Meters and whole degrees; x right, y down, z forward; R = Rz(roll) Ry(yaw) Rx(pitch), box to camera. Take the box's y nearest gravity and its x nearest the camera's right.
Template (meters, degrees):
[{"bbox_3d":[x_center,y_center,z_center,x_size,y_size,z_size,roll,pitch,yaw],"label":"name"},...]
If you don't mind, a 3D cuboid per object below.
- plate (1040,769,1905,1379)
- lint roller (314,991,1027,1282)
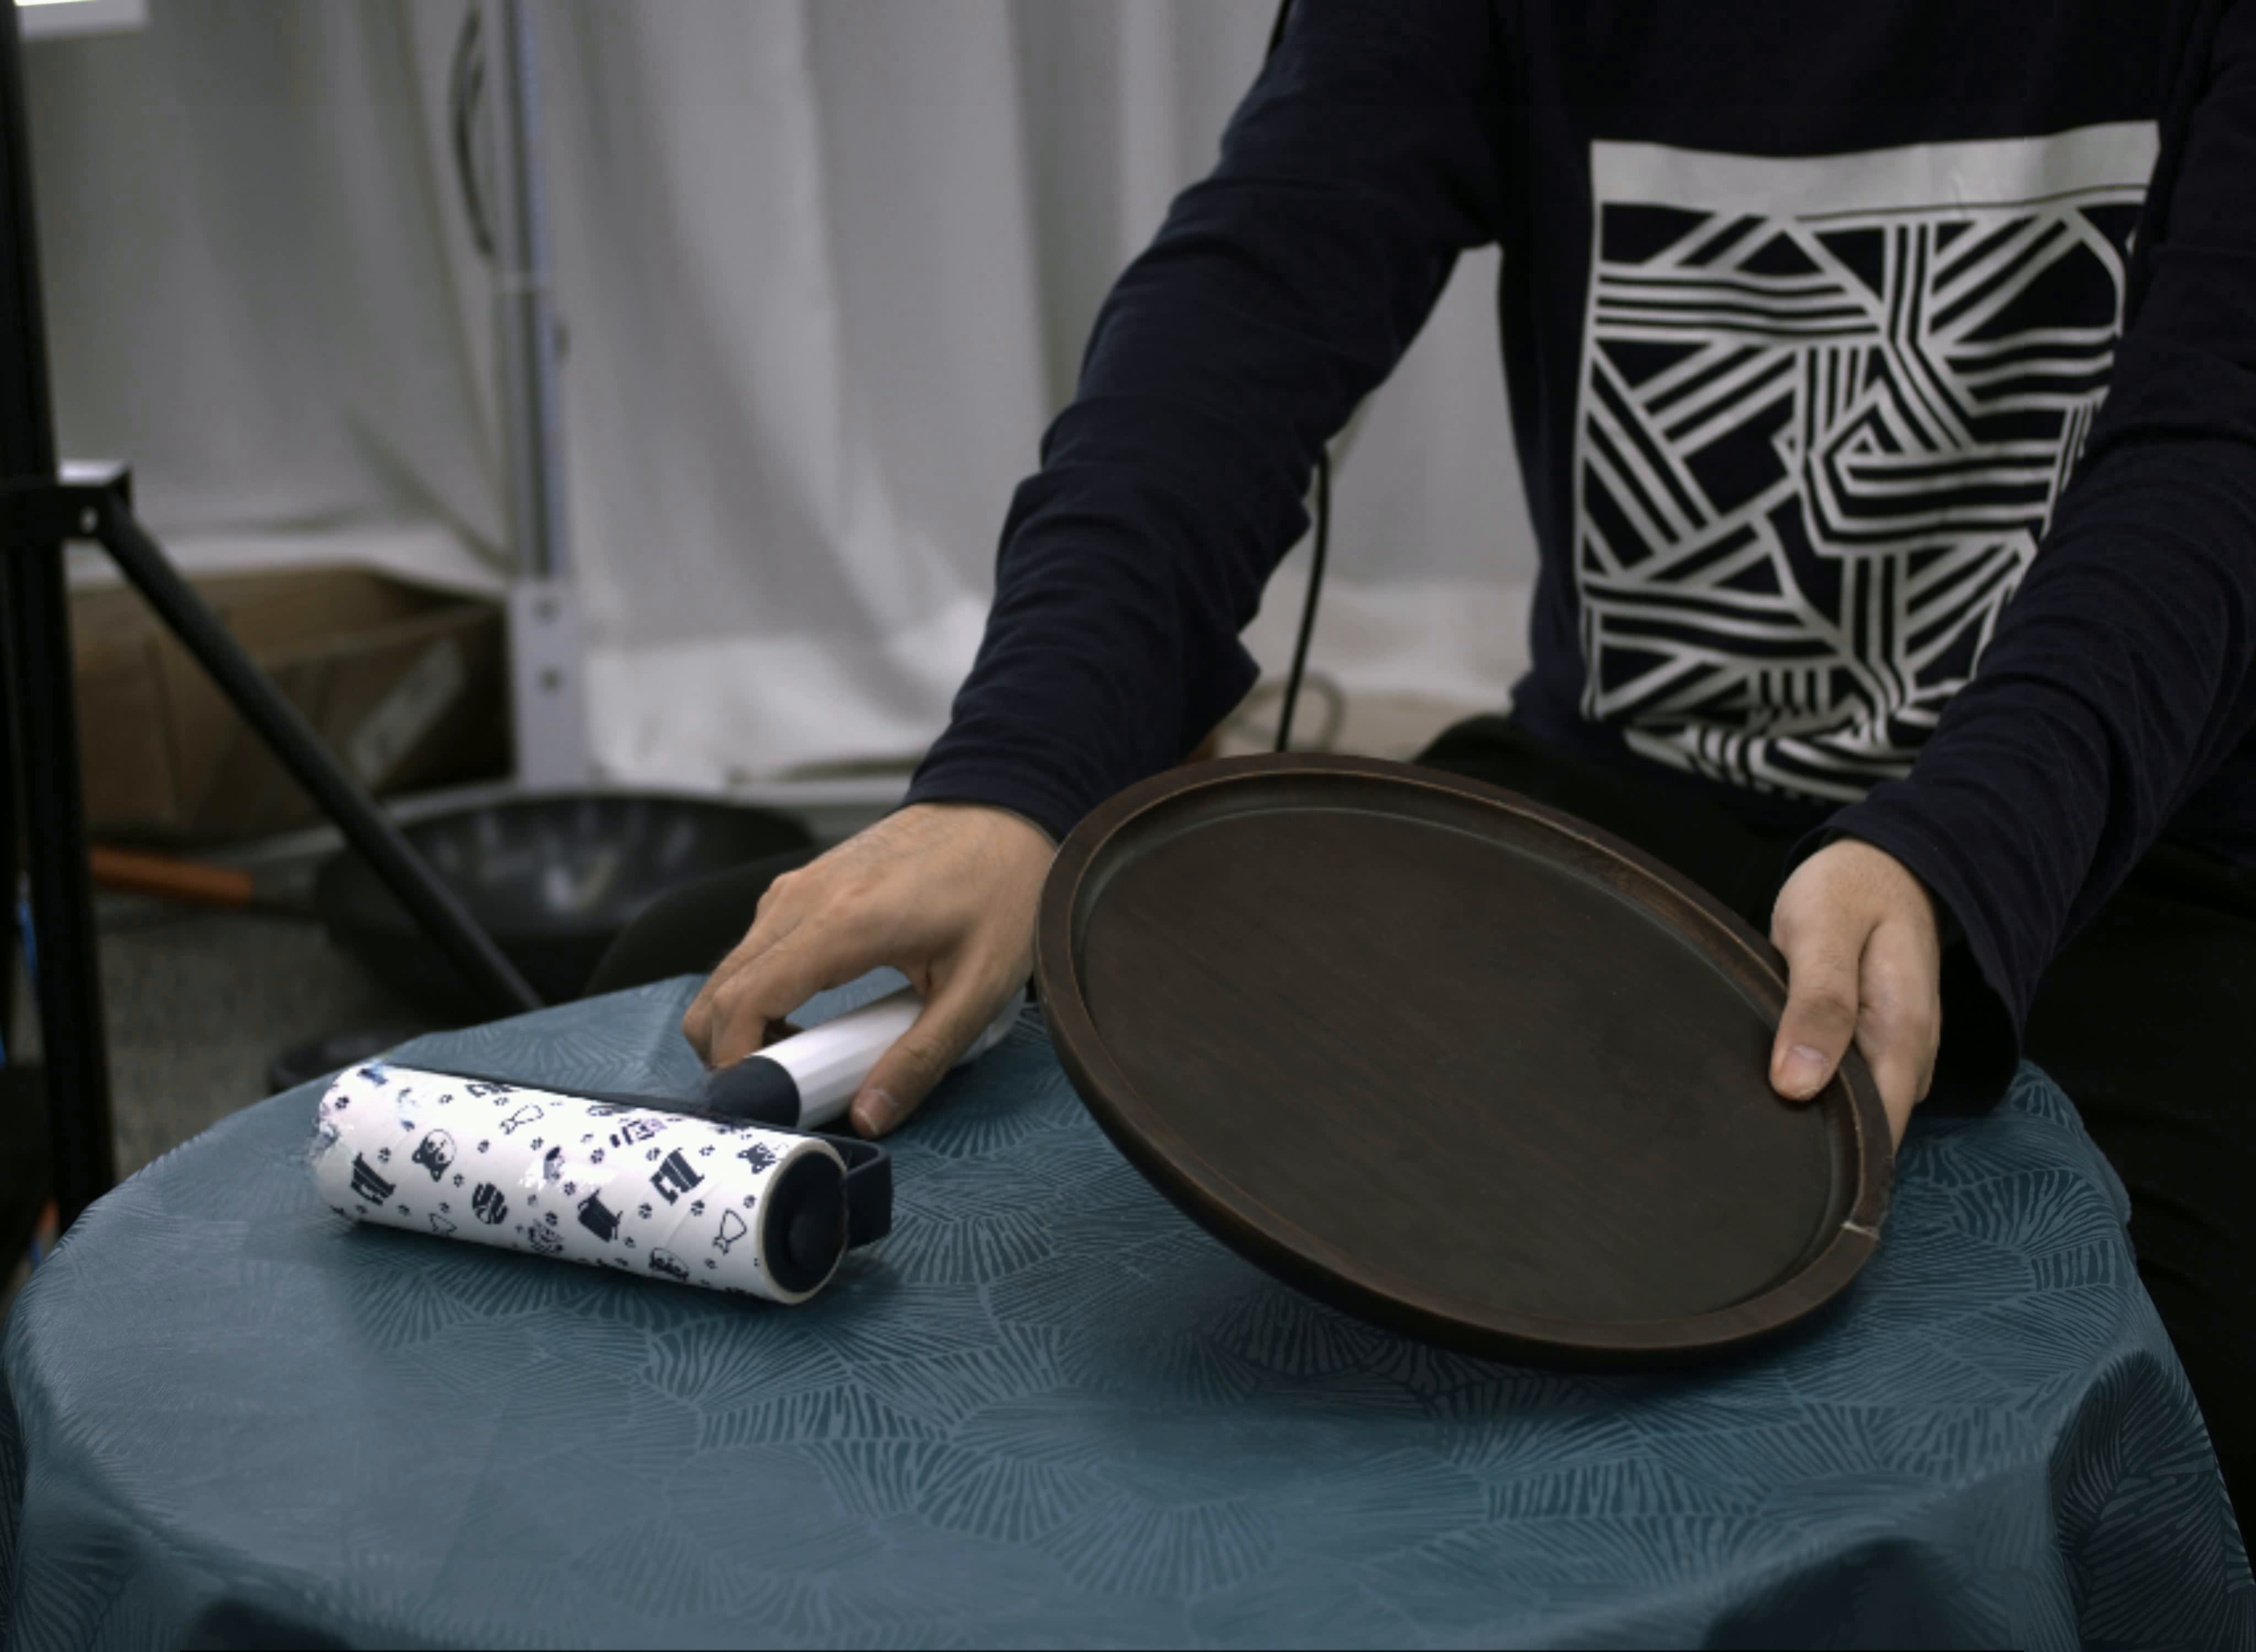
[{"bbox_3d":[0.095,0.066,1.473,0.251,0.029,0.257,14,33,-11],"label":"plate"},{"bbox_3d":[-0.105,0.078,1.608,0.179,0.050,0.242,6,15,32],"label":"lint roller"}]
